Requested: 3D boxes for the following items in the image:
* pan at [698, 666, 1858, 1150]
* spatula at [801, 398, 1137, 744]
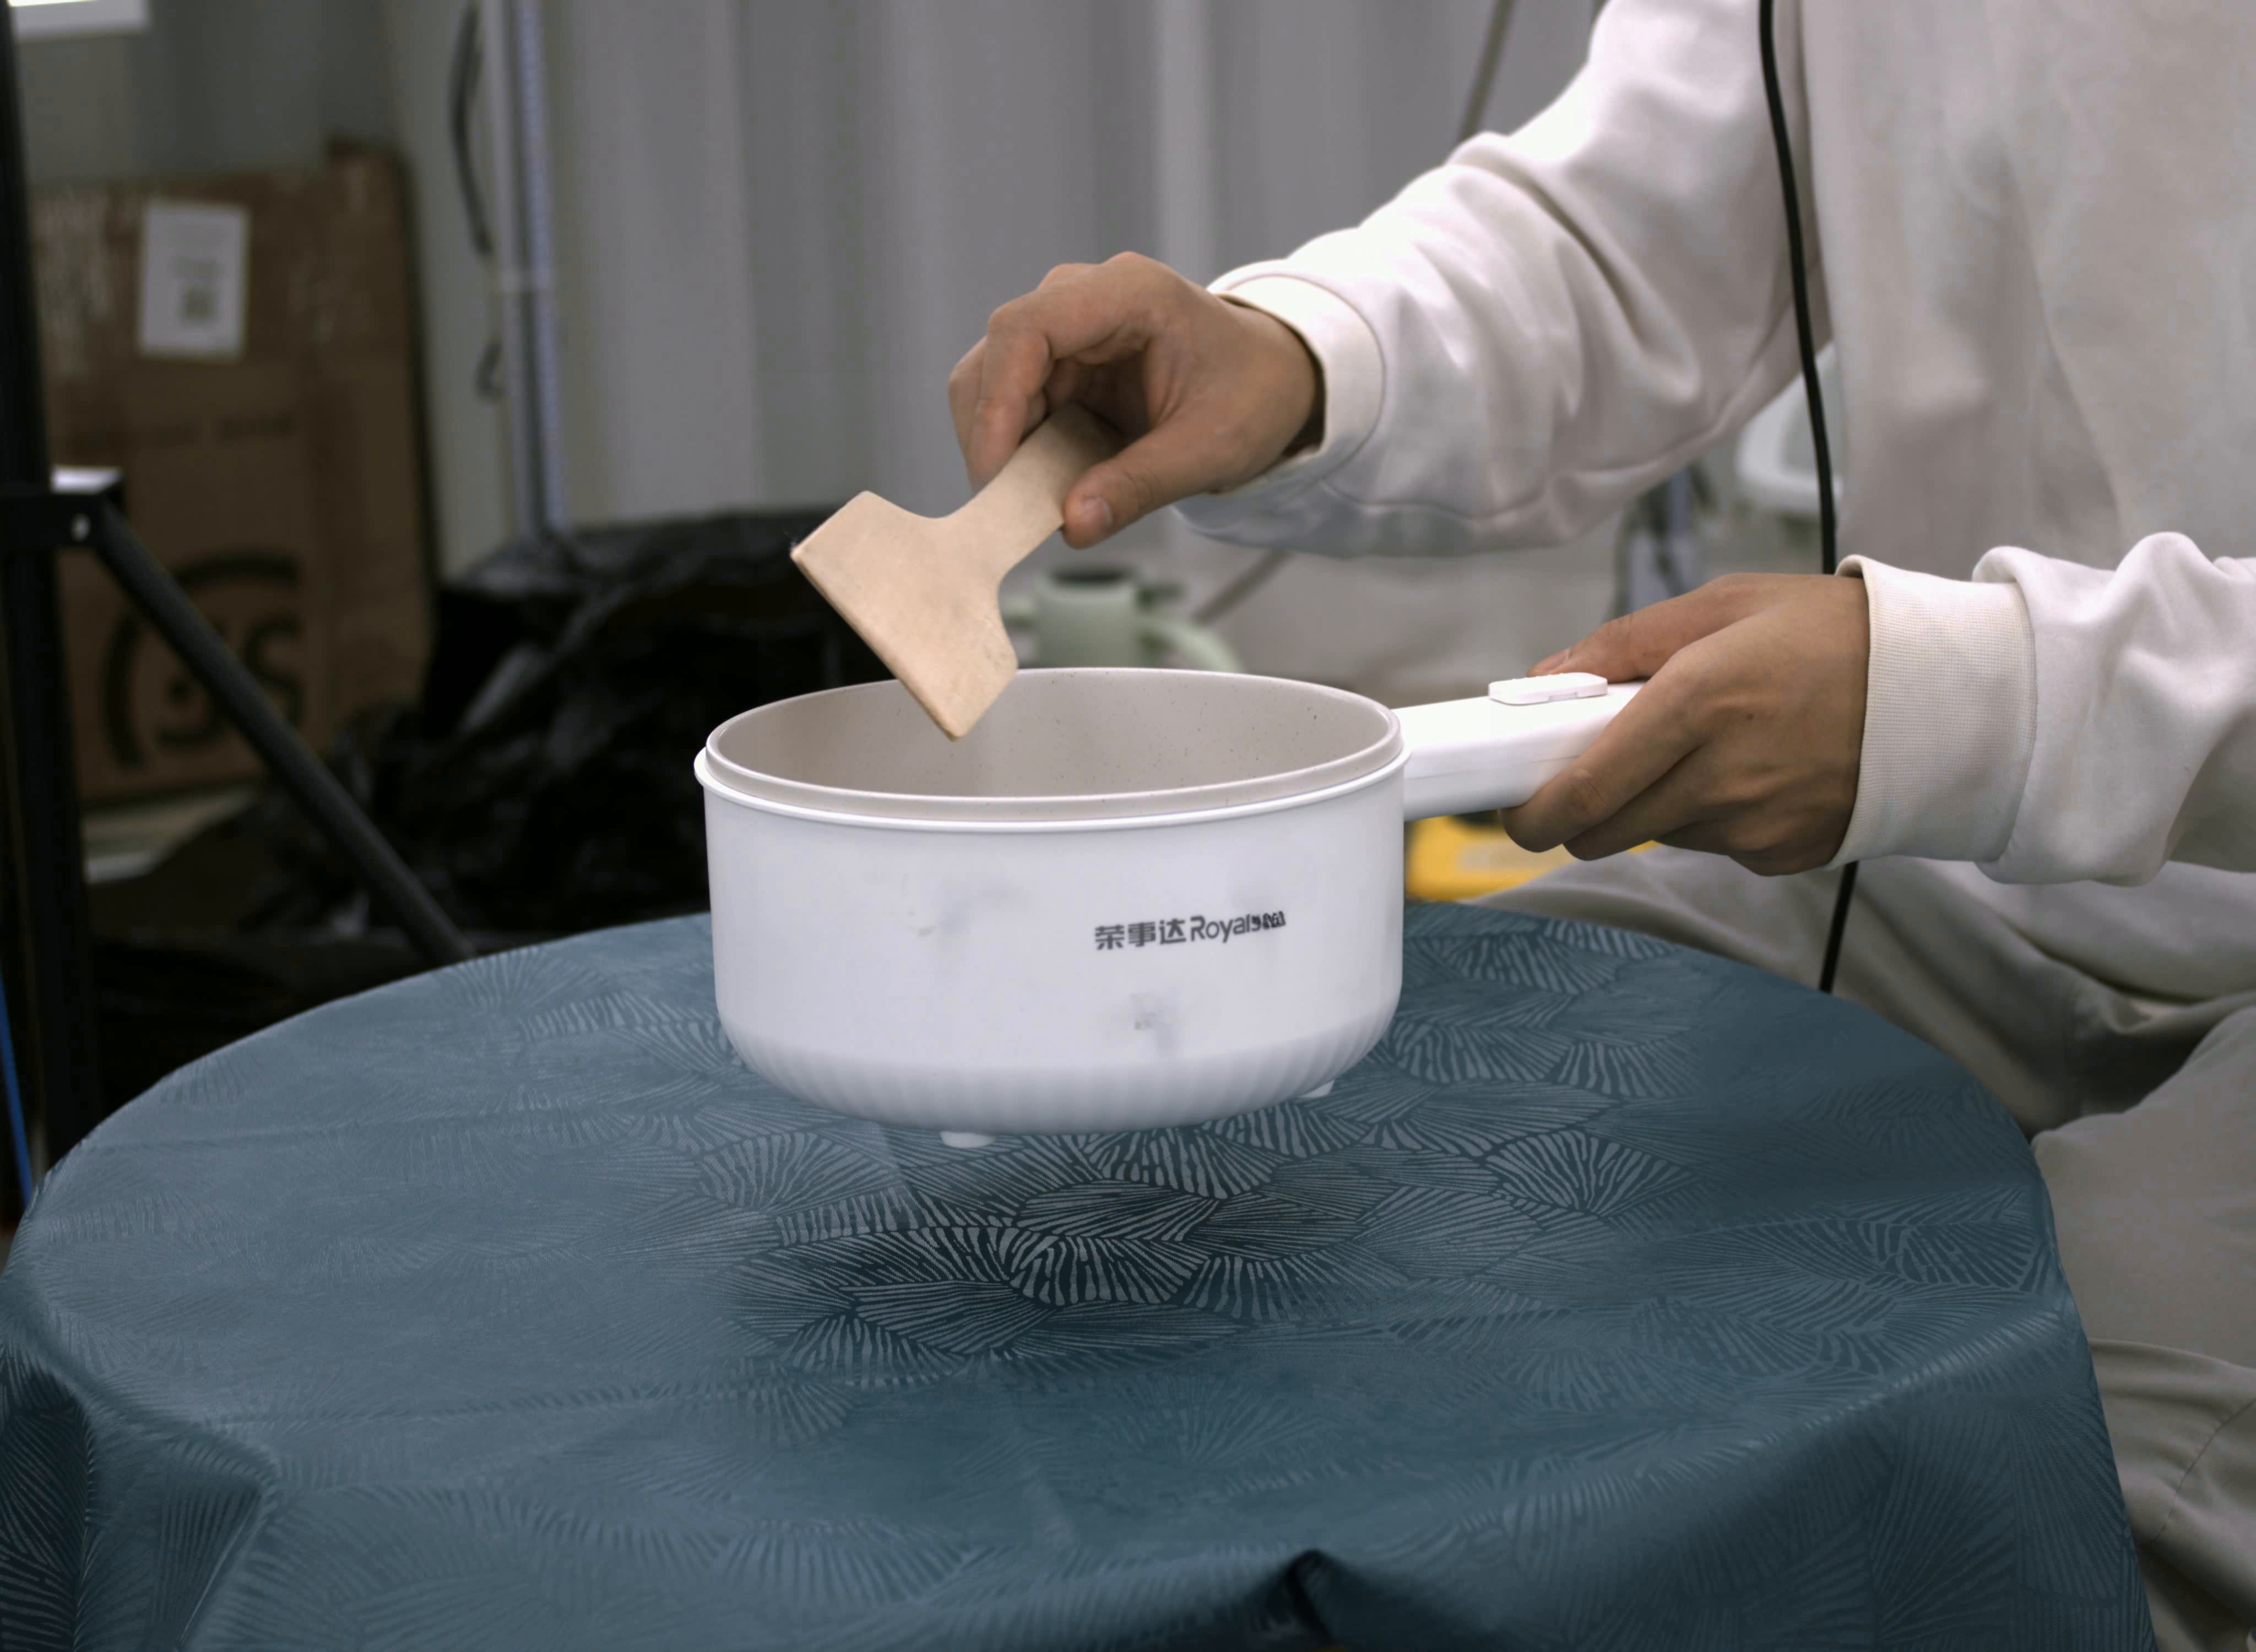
[{"bbox_3d":[0.049,0.017,1.526,0.347,0.102,0.205,-6,11,-24],"label":"pan"},{"bbox_3d":[-0.039,-0.089,1.601,0.011,0.072,0.291,-41,4,21],"label":"spatula"}]
